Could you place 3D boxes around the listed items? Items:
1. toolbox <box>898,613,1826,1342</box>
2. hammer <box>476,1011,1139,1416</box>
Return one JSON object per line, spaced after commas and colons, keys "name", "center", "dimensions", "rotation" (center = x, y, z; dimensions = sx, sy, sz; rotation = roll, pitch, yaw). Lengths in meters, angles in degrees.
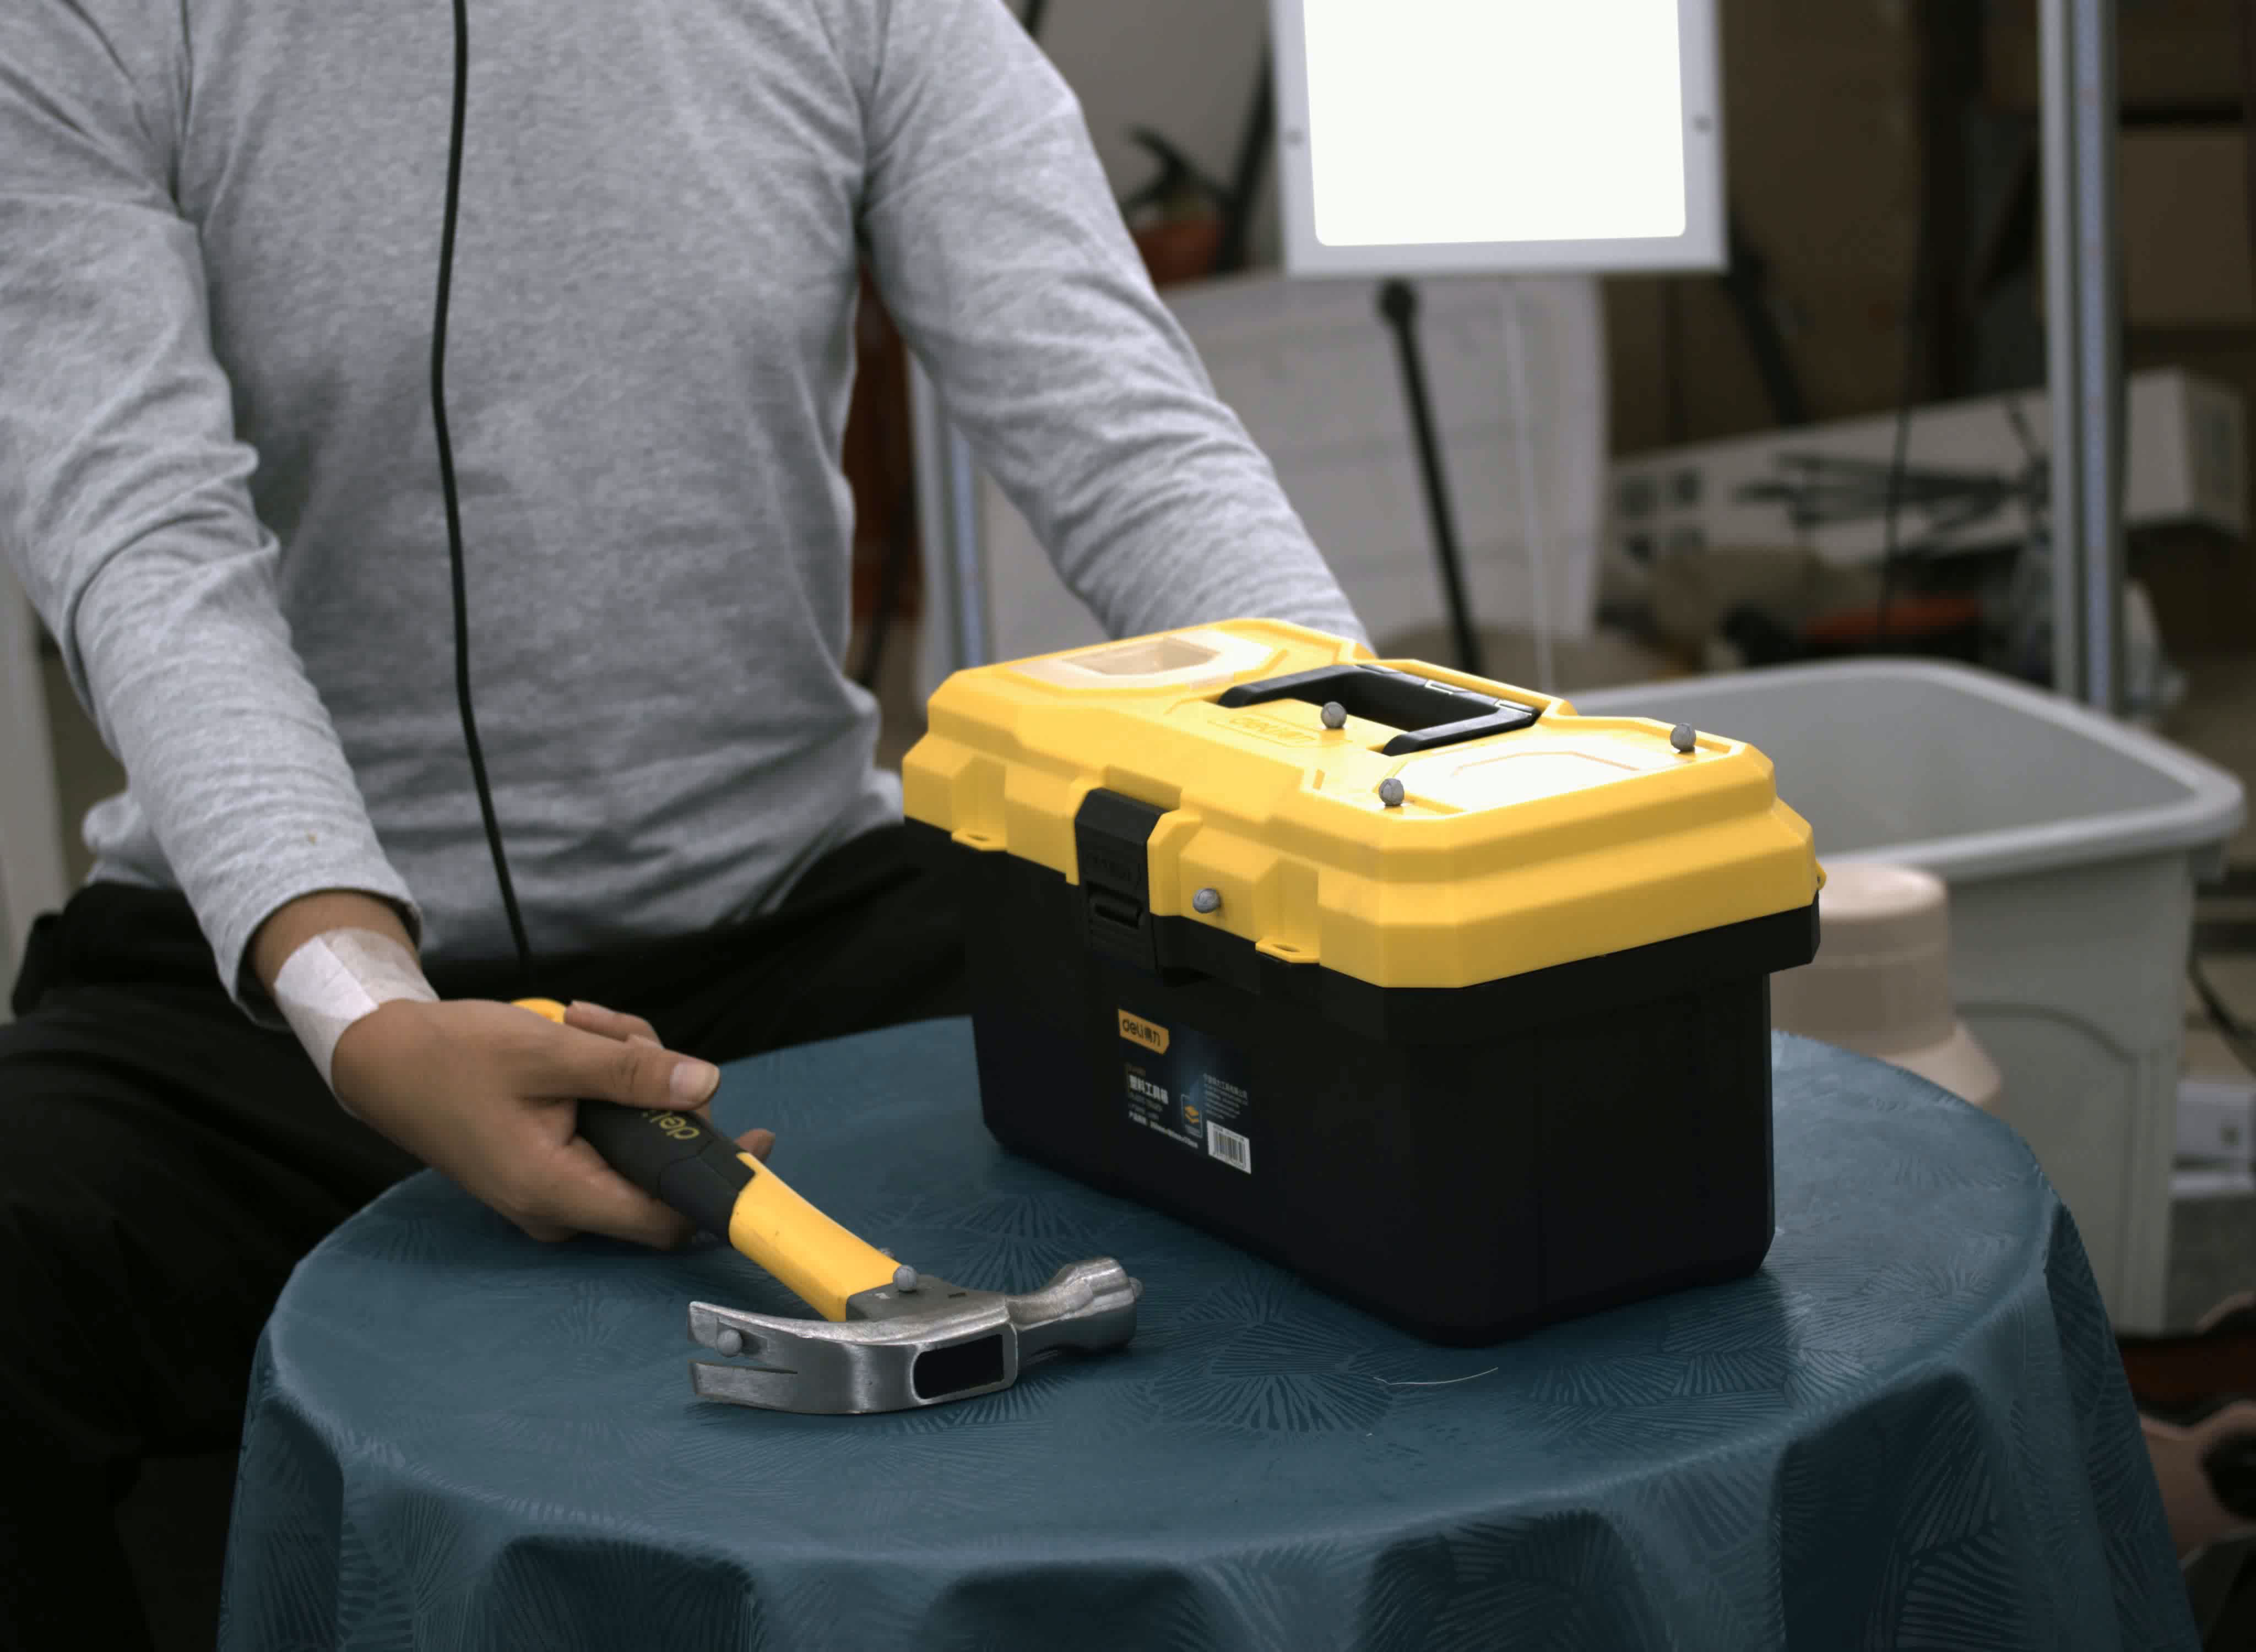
{"name": "toolbox", "center": [0.073, 0.043, 1.844], "dimensions": [0.177, 0.173, 0.357], "rotation": [-12, 15, -26]}
{"name": "hammer", "center": [-0.135, 0.121, 1.841], "dimensions": [0.128, 0.032, 0.344], "rotation": [-15, 22, -26]}
